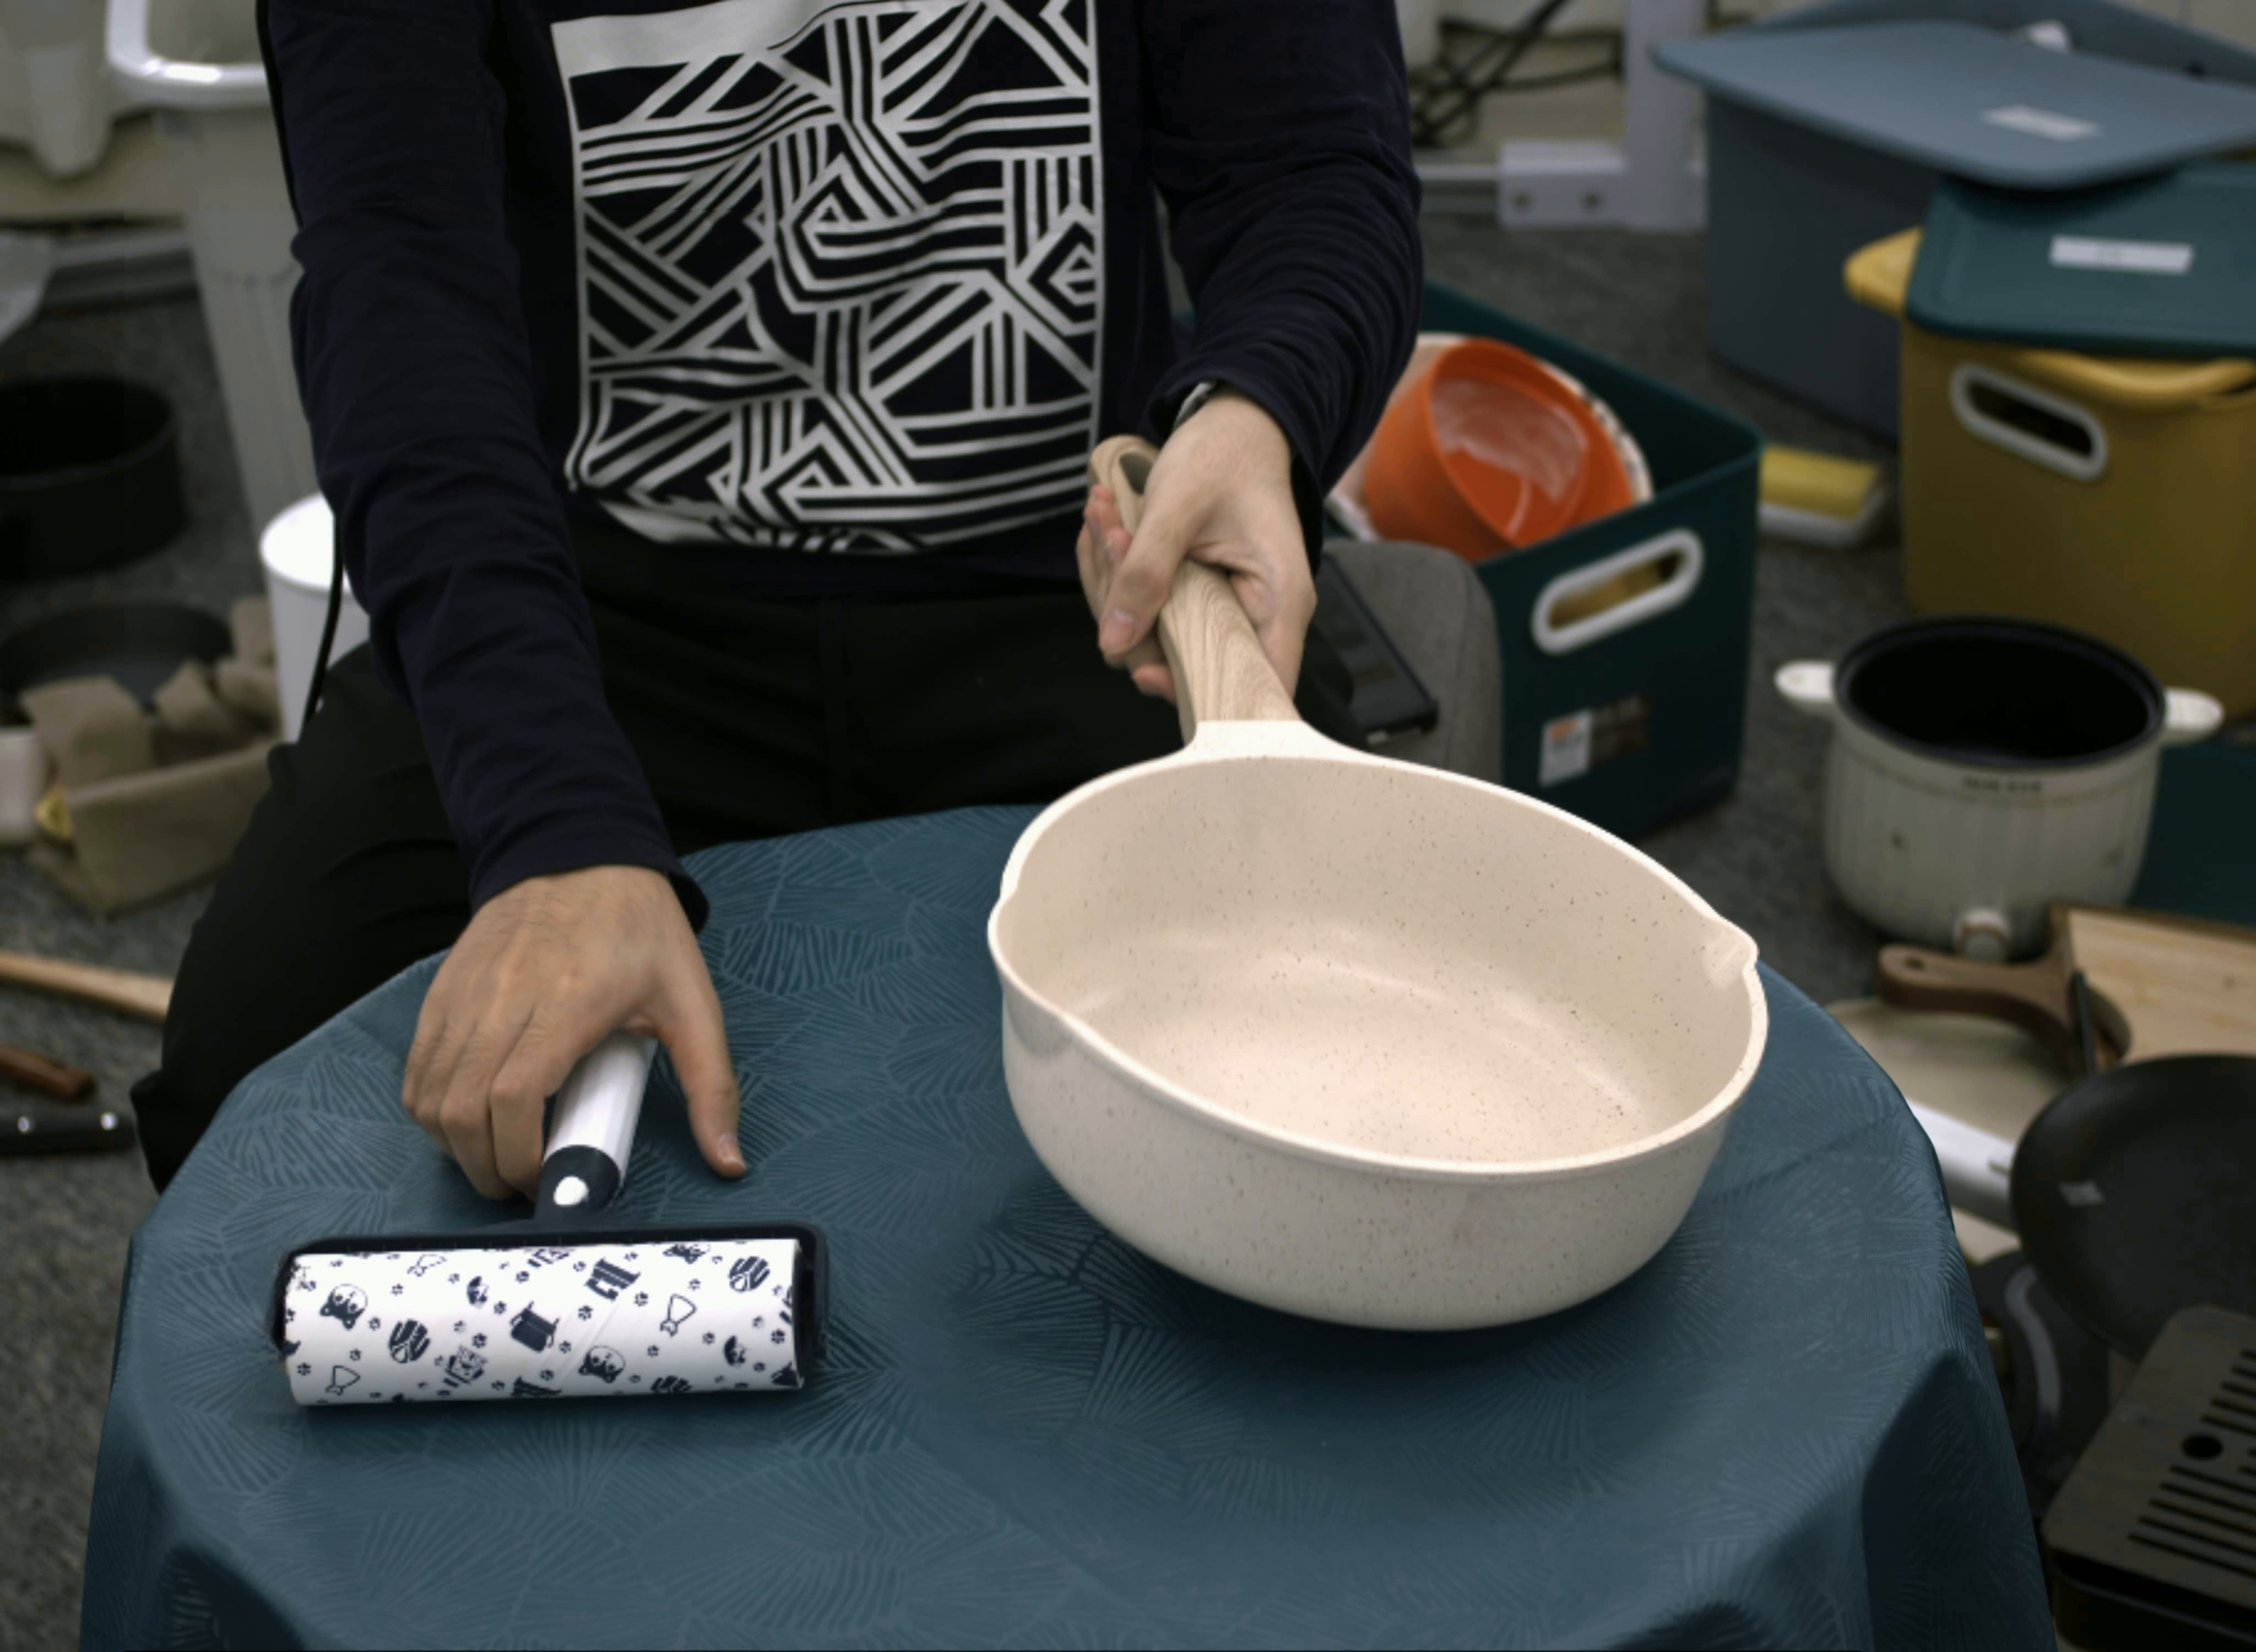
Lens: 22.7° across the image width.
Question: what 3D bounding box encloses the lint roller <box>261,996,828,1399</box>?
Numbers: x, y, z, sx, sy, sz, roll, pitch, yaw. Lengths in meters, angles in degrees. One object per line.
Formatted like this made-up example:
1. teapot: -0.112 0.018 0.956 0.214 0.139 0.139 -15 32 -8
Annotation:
1. lint roller: -0.182 0.112 1.855 0.175 0.050 0.250 -3 25 2

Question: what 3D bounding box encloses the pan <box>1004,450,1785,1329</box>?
1. pan: 0.054 0.019 1.893 0.263 0.100 0.440 -2 32 -19
